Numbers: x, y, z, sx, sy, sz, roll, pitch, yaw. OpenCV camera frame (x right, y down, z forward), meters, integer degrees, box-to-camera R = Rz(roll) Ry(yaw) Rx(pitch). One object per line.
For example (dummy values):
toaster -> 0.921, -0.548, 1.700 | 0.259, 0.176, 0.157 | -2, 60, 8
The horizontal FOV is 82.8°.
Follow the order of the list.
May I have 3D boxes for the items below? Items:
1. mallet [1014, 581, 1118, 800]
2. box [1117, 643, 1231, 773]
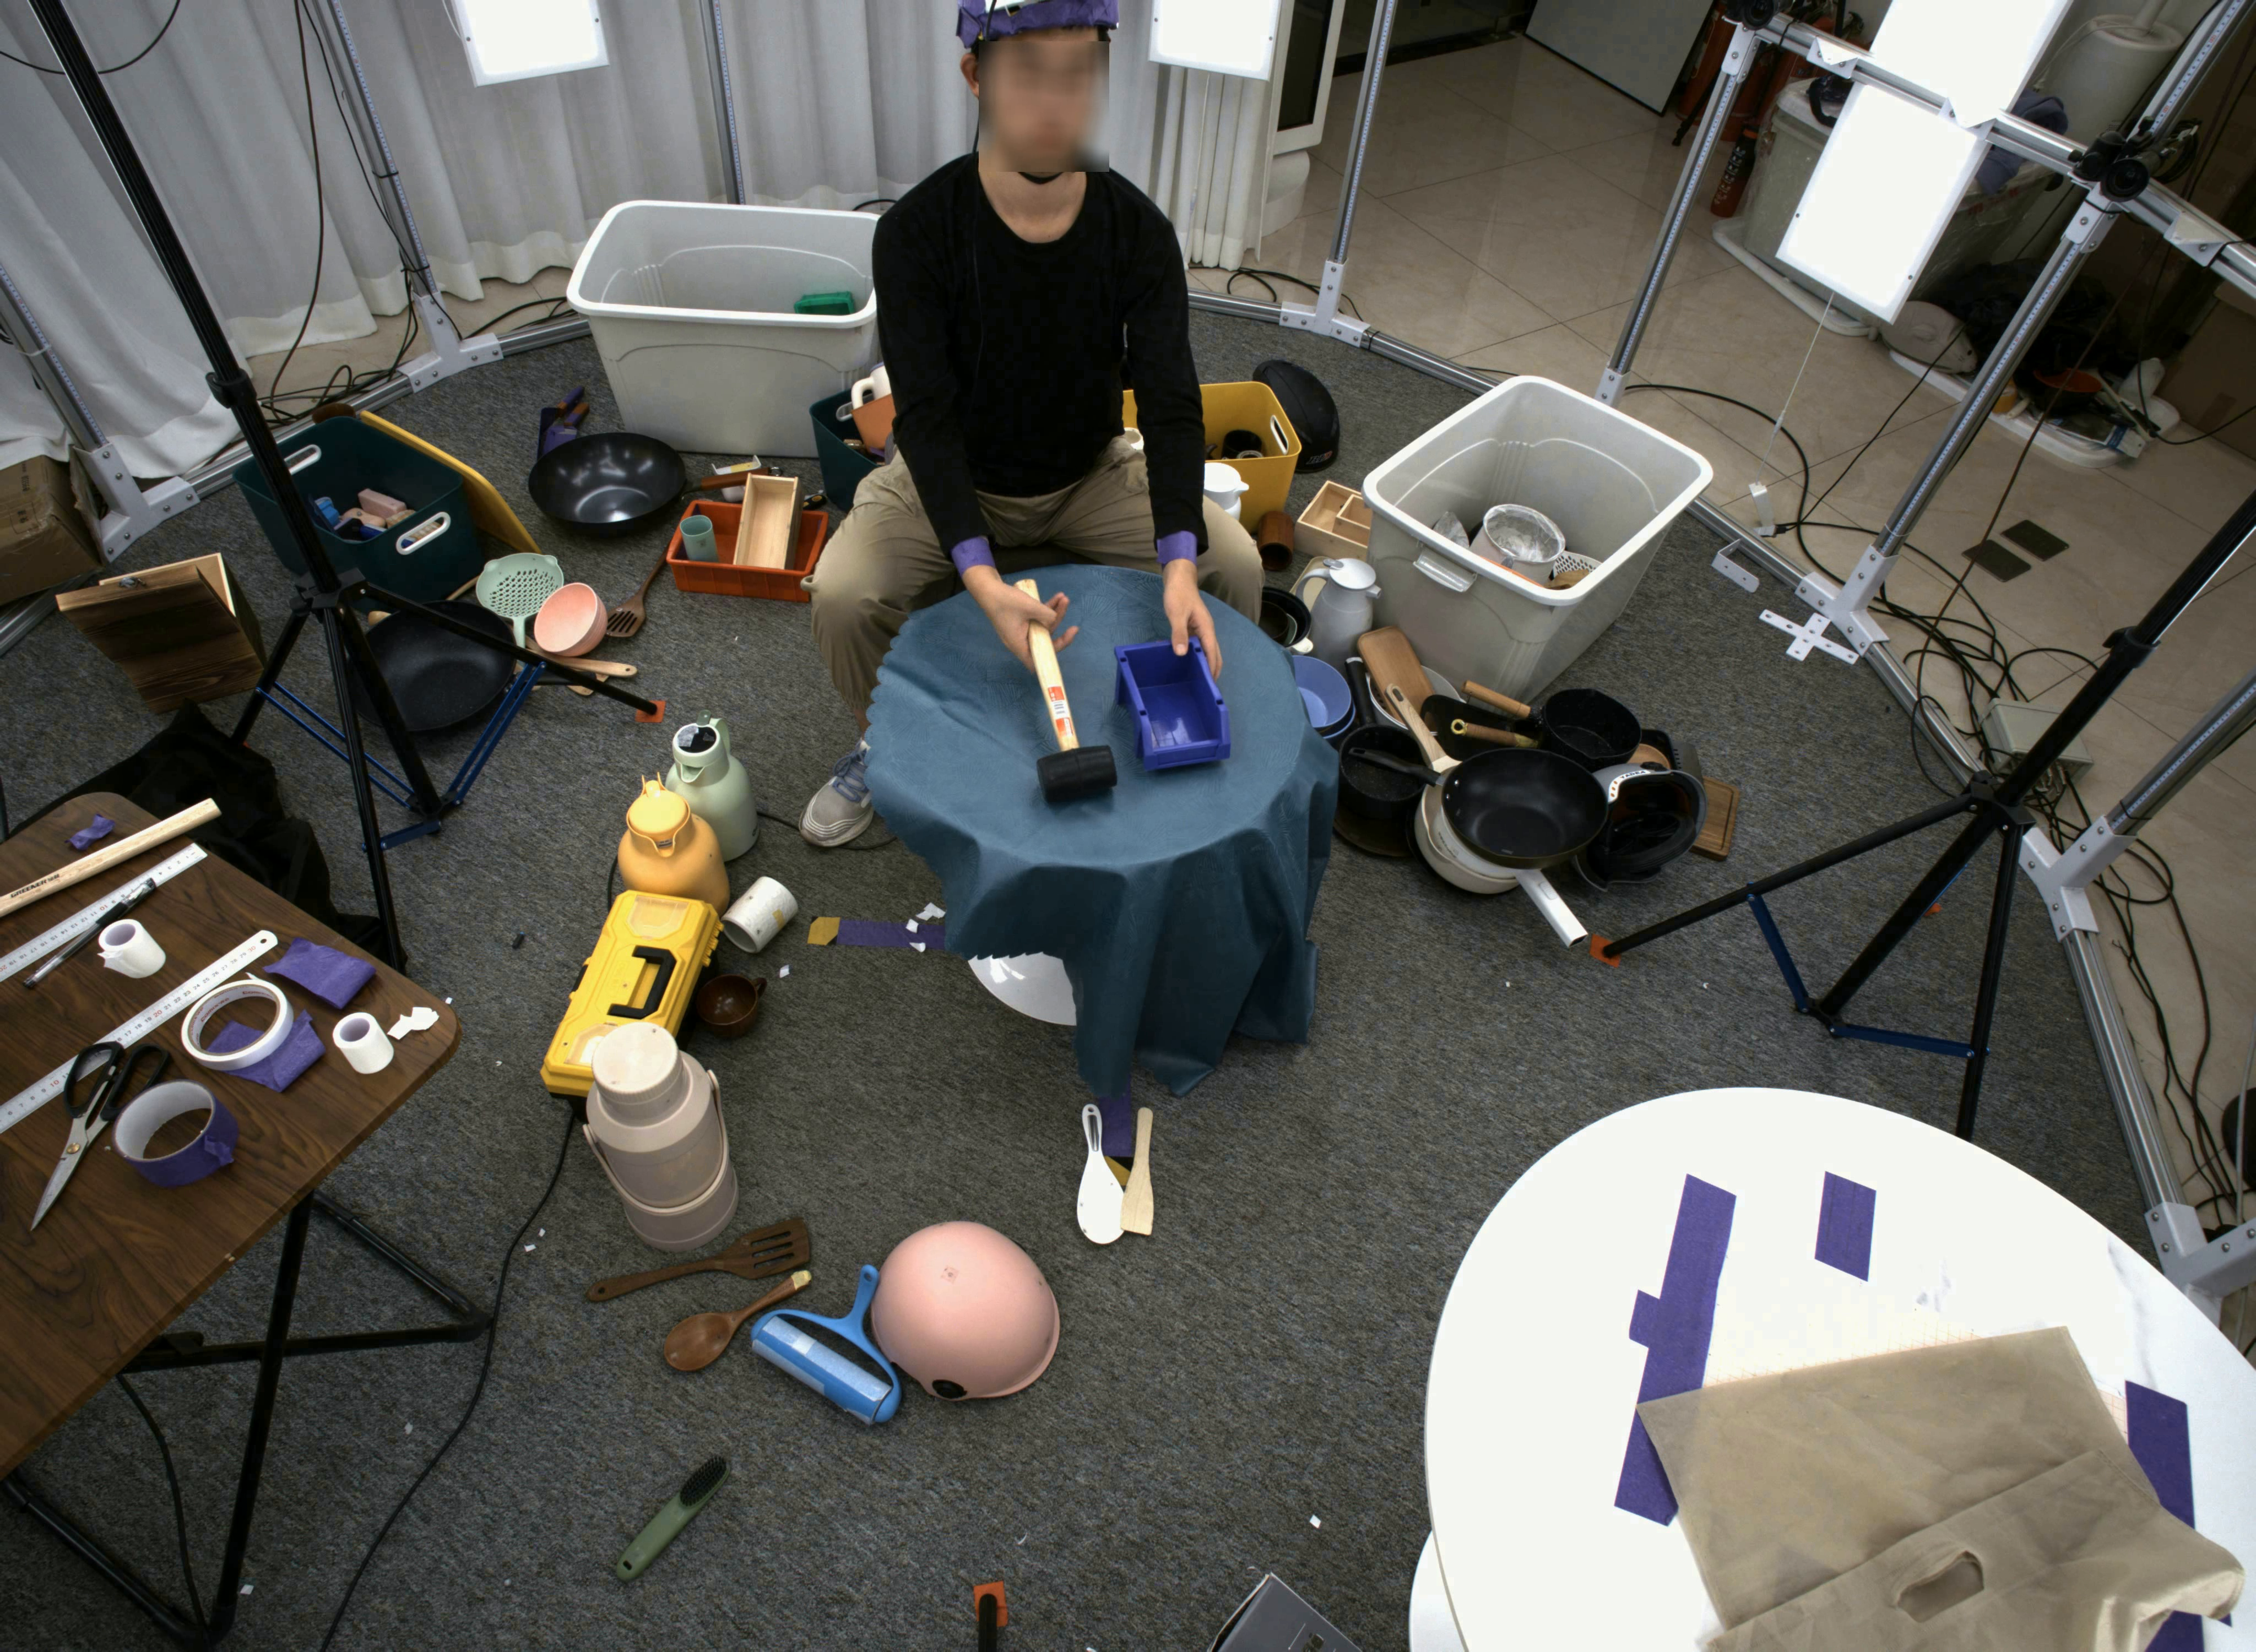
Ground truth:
mallet -> -0.102, -0.194, 1.740 | 0.102, 0.063, 0.345 | -10, 66, -12
box -> 0.063, -0.158, 1.758 | 0.124, 0.080, 0.184 | -8, 47, -10
